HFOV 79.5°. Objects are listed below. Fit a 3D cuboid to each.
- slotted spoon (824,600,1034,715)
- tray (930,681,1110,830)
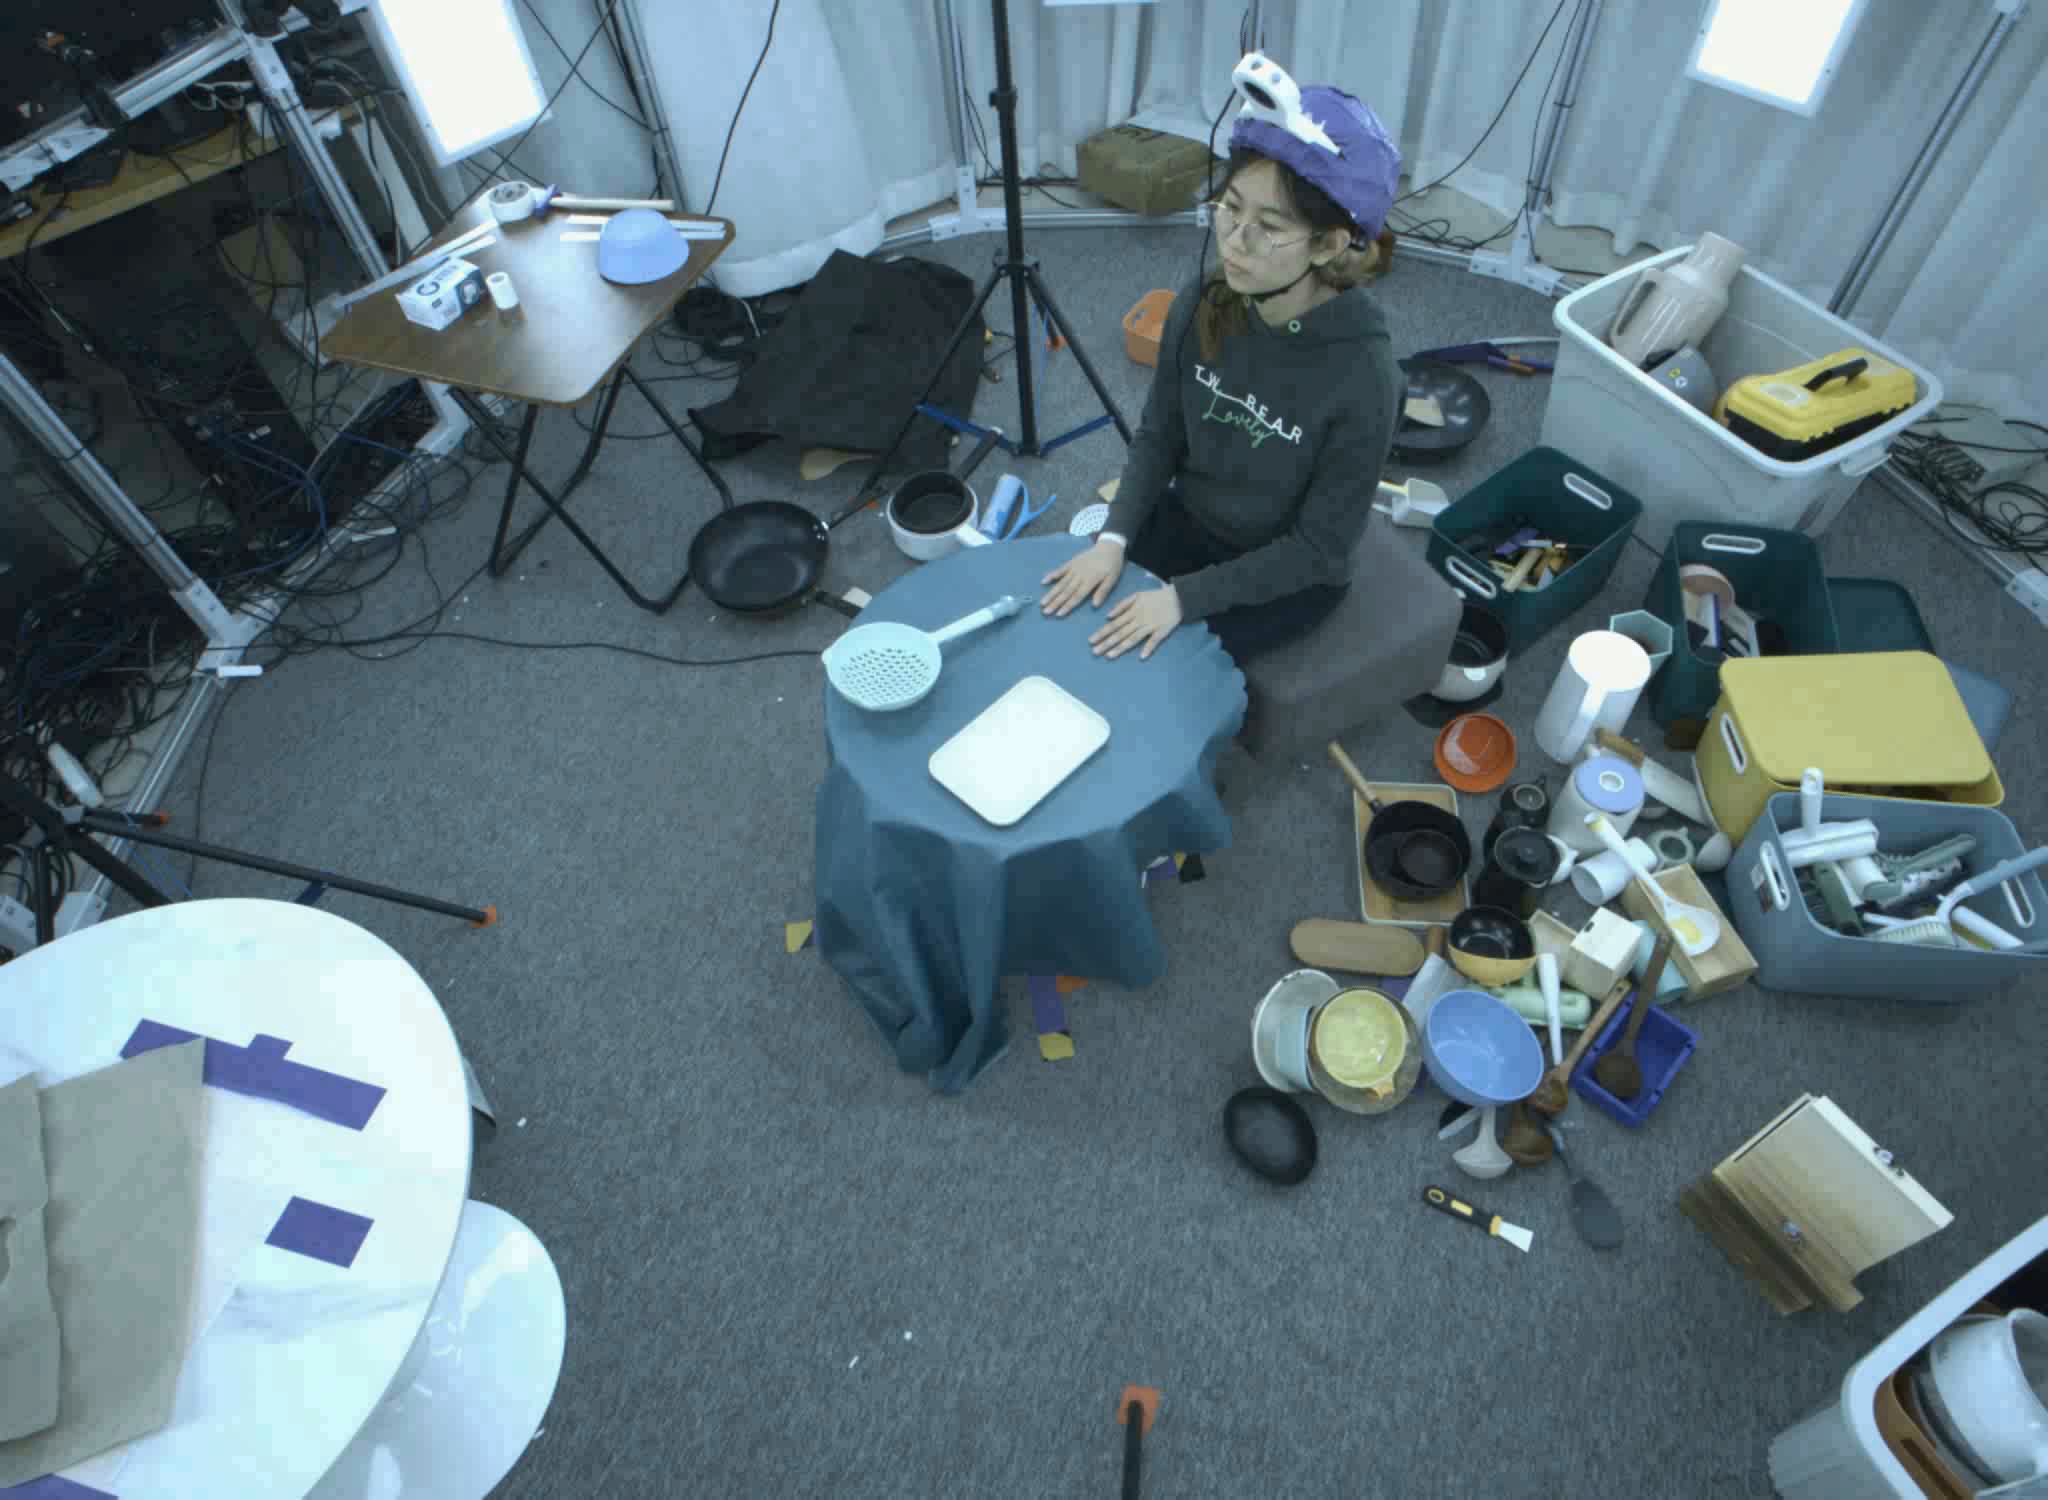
[{"bbox_3d":[-0.130,-0.161,1.876,0.362,0.076,0.166,-34,61,-21],"label":"slotted spoon"},{"bbox_3d":[-0.004,0.006,1.784,0.168,0.017,0.241,37,63,24],"label":"tray"}]
